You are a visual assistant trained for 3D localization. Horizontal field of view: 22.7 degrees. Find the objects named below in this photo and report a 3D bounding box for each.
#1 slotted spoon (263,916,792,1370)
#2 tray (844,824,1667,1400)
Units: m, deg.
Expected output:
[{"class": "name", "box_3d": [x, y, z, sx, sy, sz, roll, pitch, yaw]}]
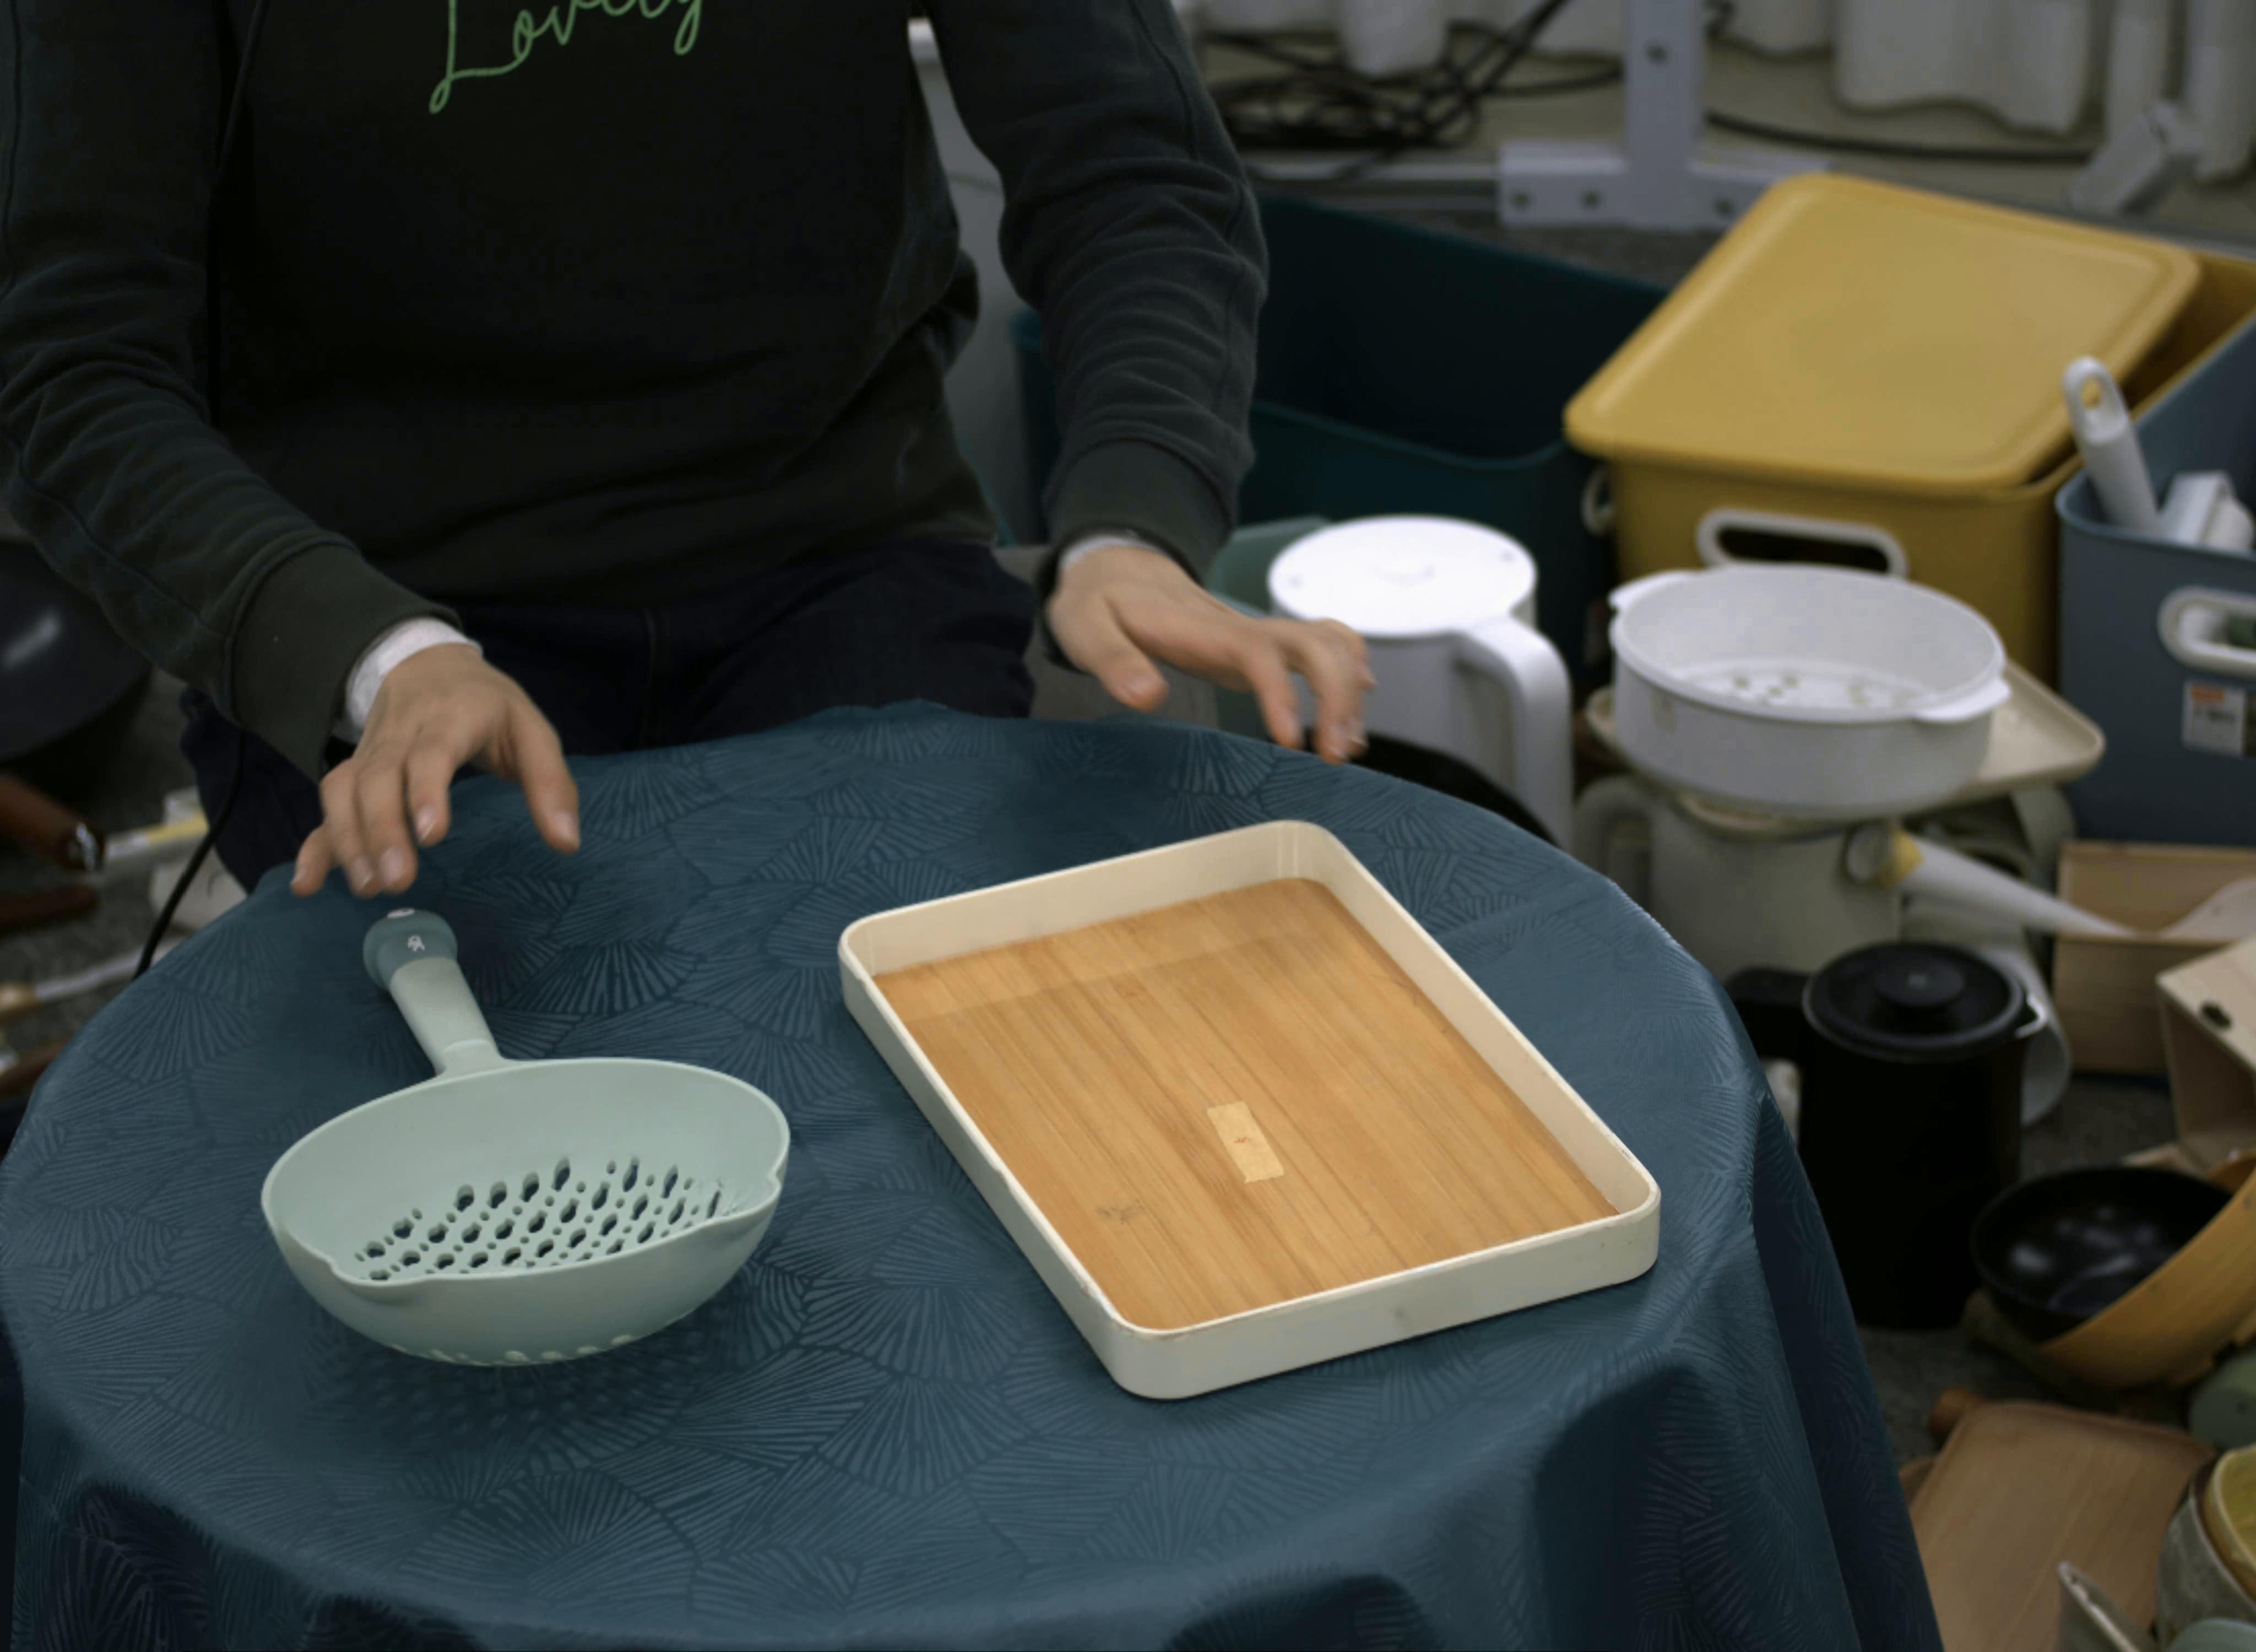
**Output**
[{"class": "slotted spoon", "box_3d": [-0.216, 0.090, 1.876, 0.169, 0.074, 0.362, -9, 28, -14]}, {"class": "tray", "box_3d": [0.037, 0.090, 1.891, 0.192, 0.027, 0.303, -12, 29, -17]}]
